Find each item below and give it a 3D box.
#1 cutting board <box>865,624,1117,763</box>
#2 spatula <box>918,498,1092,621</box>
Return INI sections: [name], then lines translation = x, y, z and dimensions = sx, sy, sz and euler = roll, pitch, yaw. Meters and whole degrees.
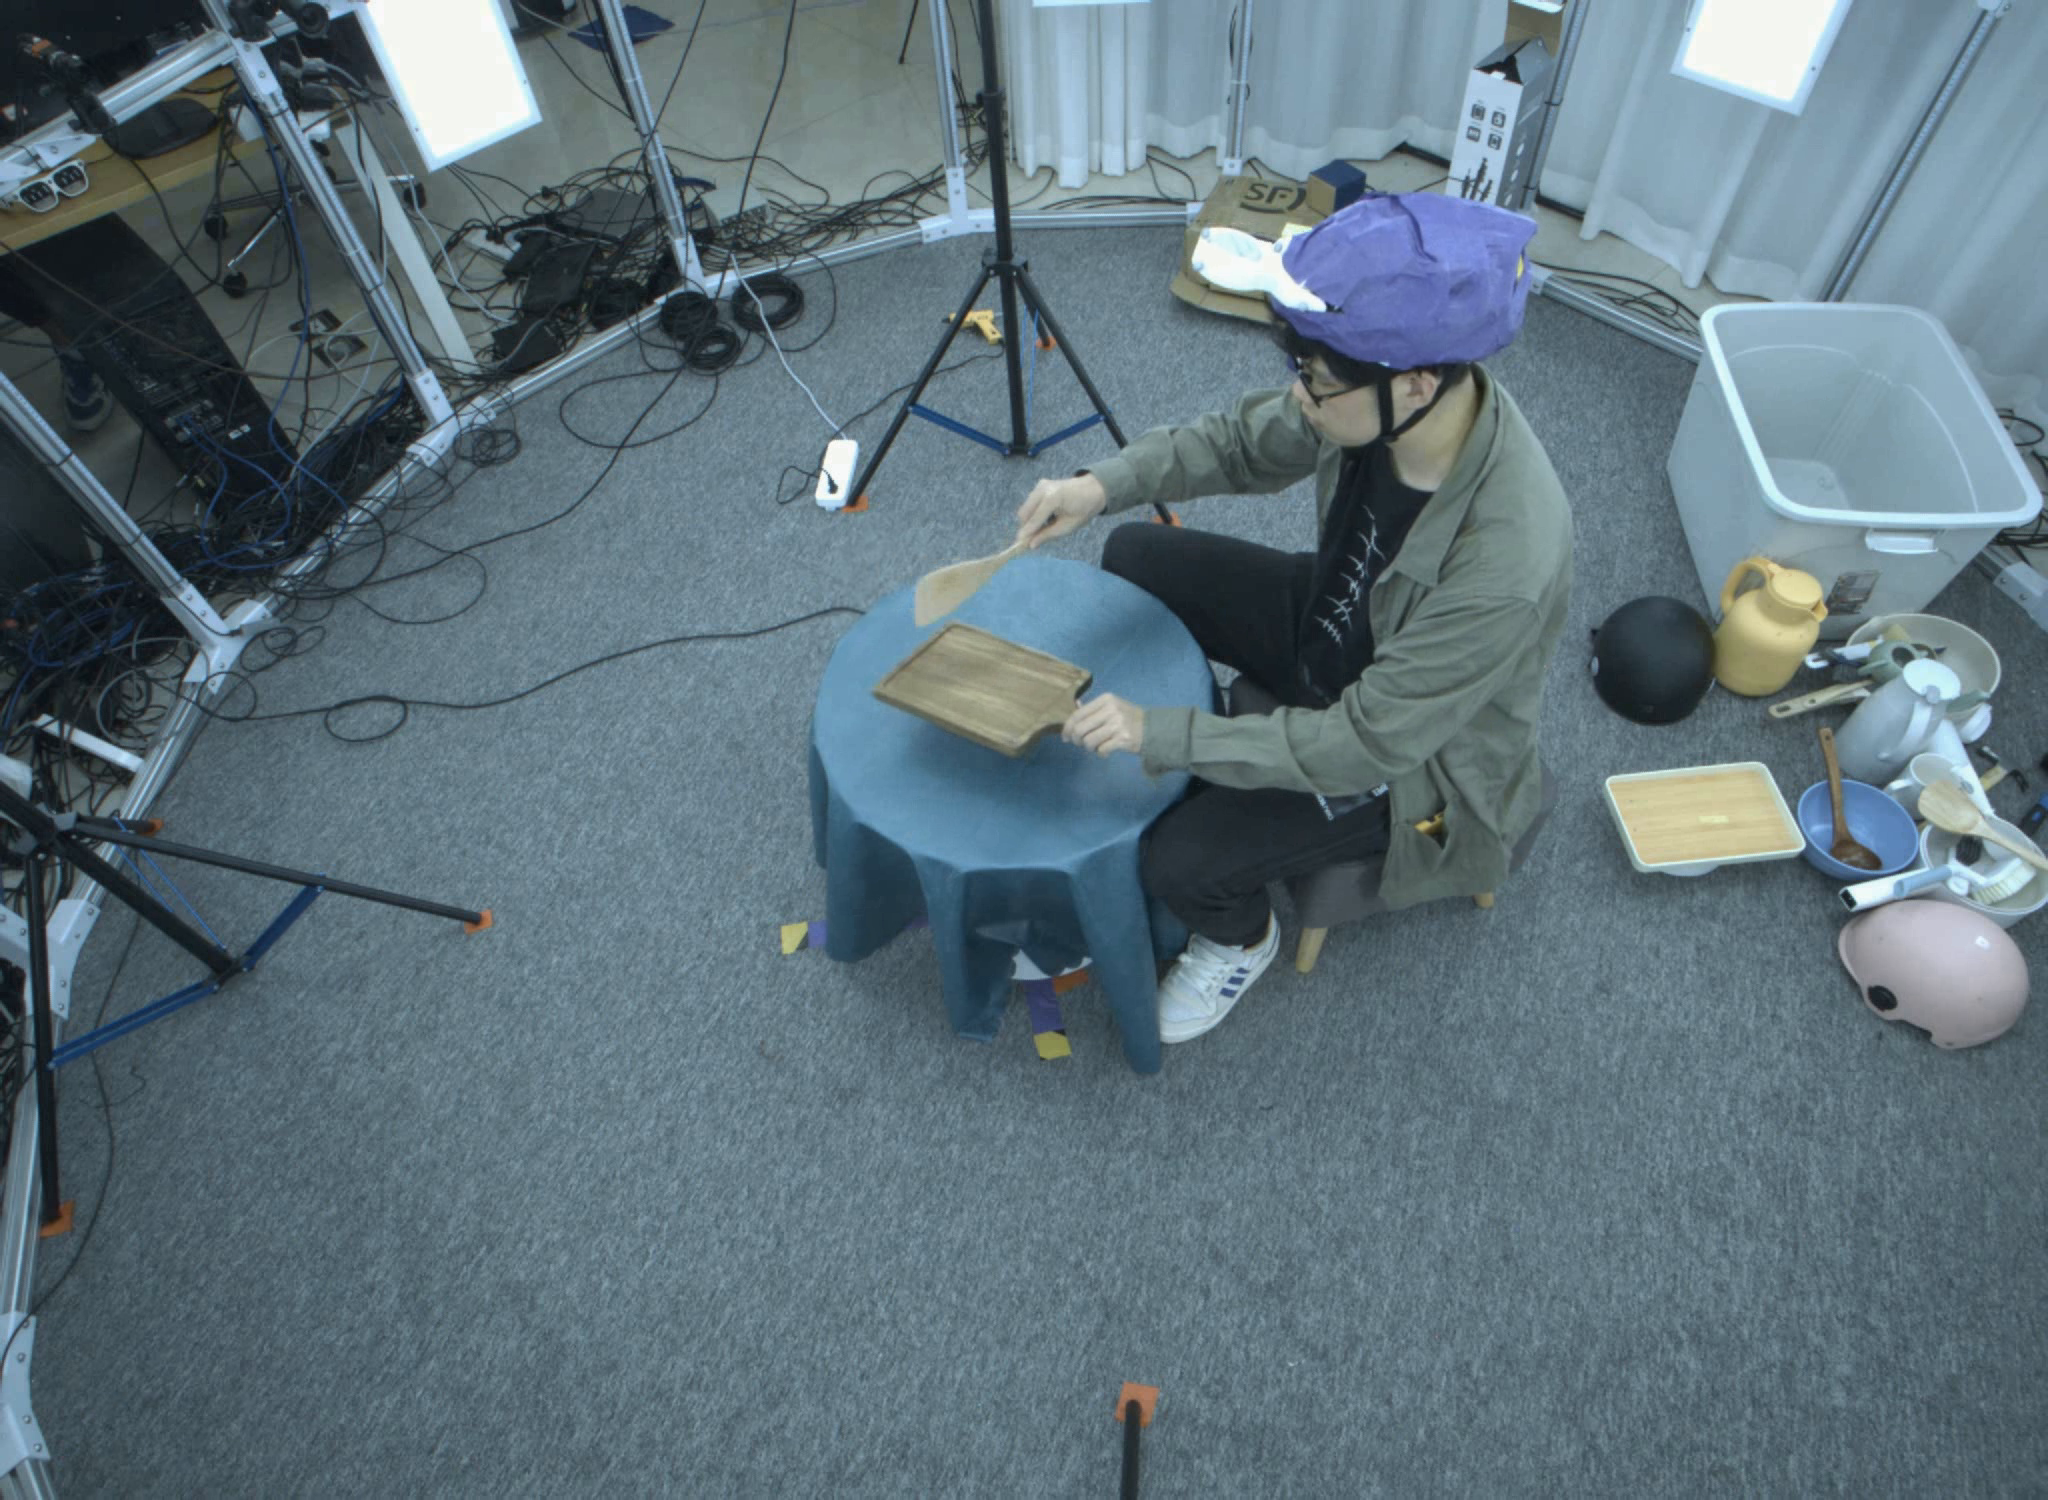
[cutting board]
translation = -0.027, -0.067, 1.703
dimensions = 0.346, 0.023, 0.202
euler = 24, 47, 24
[spatula]
translation = -0.024, -0.284, 1.738
dimensions = 0.330, 0.081, 0.016
euler = -35, 53, -27
